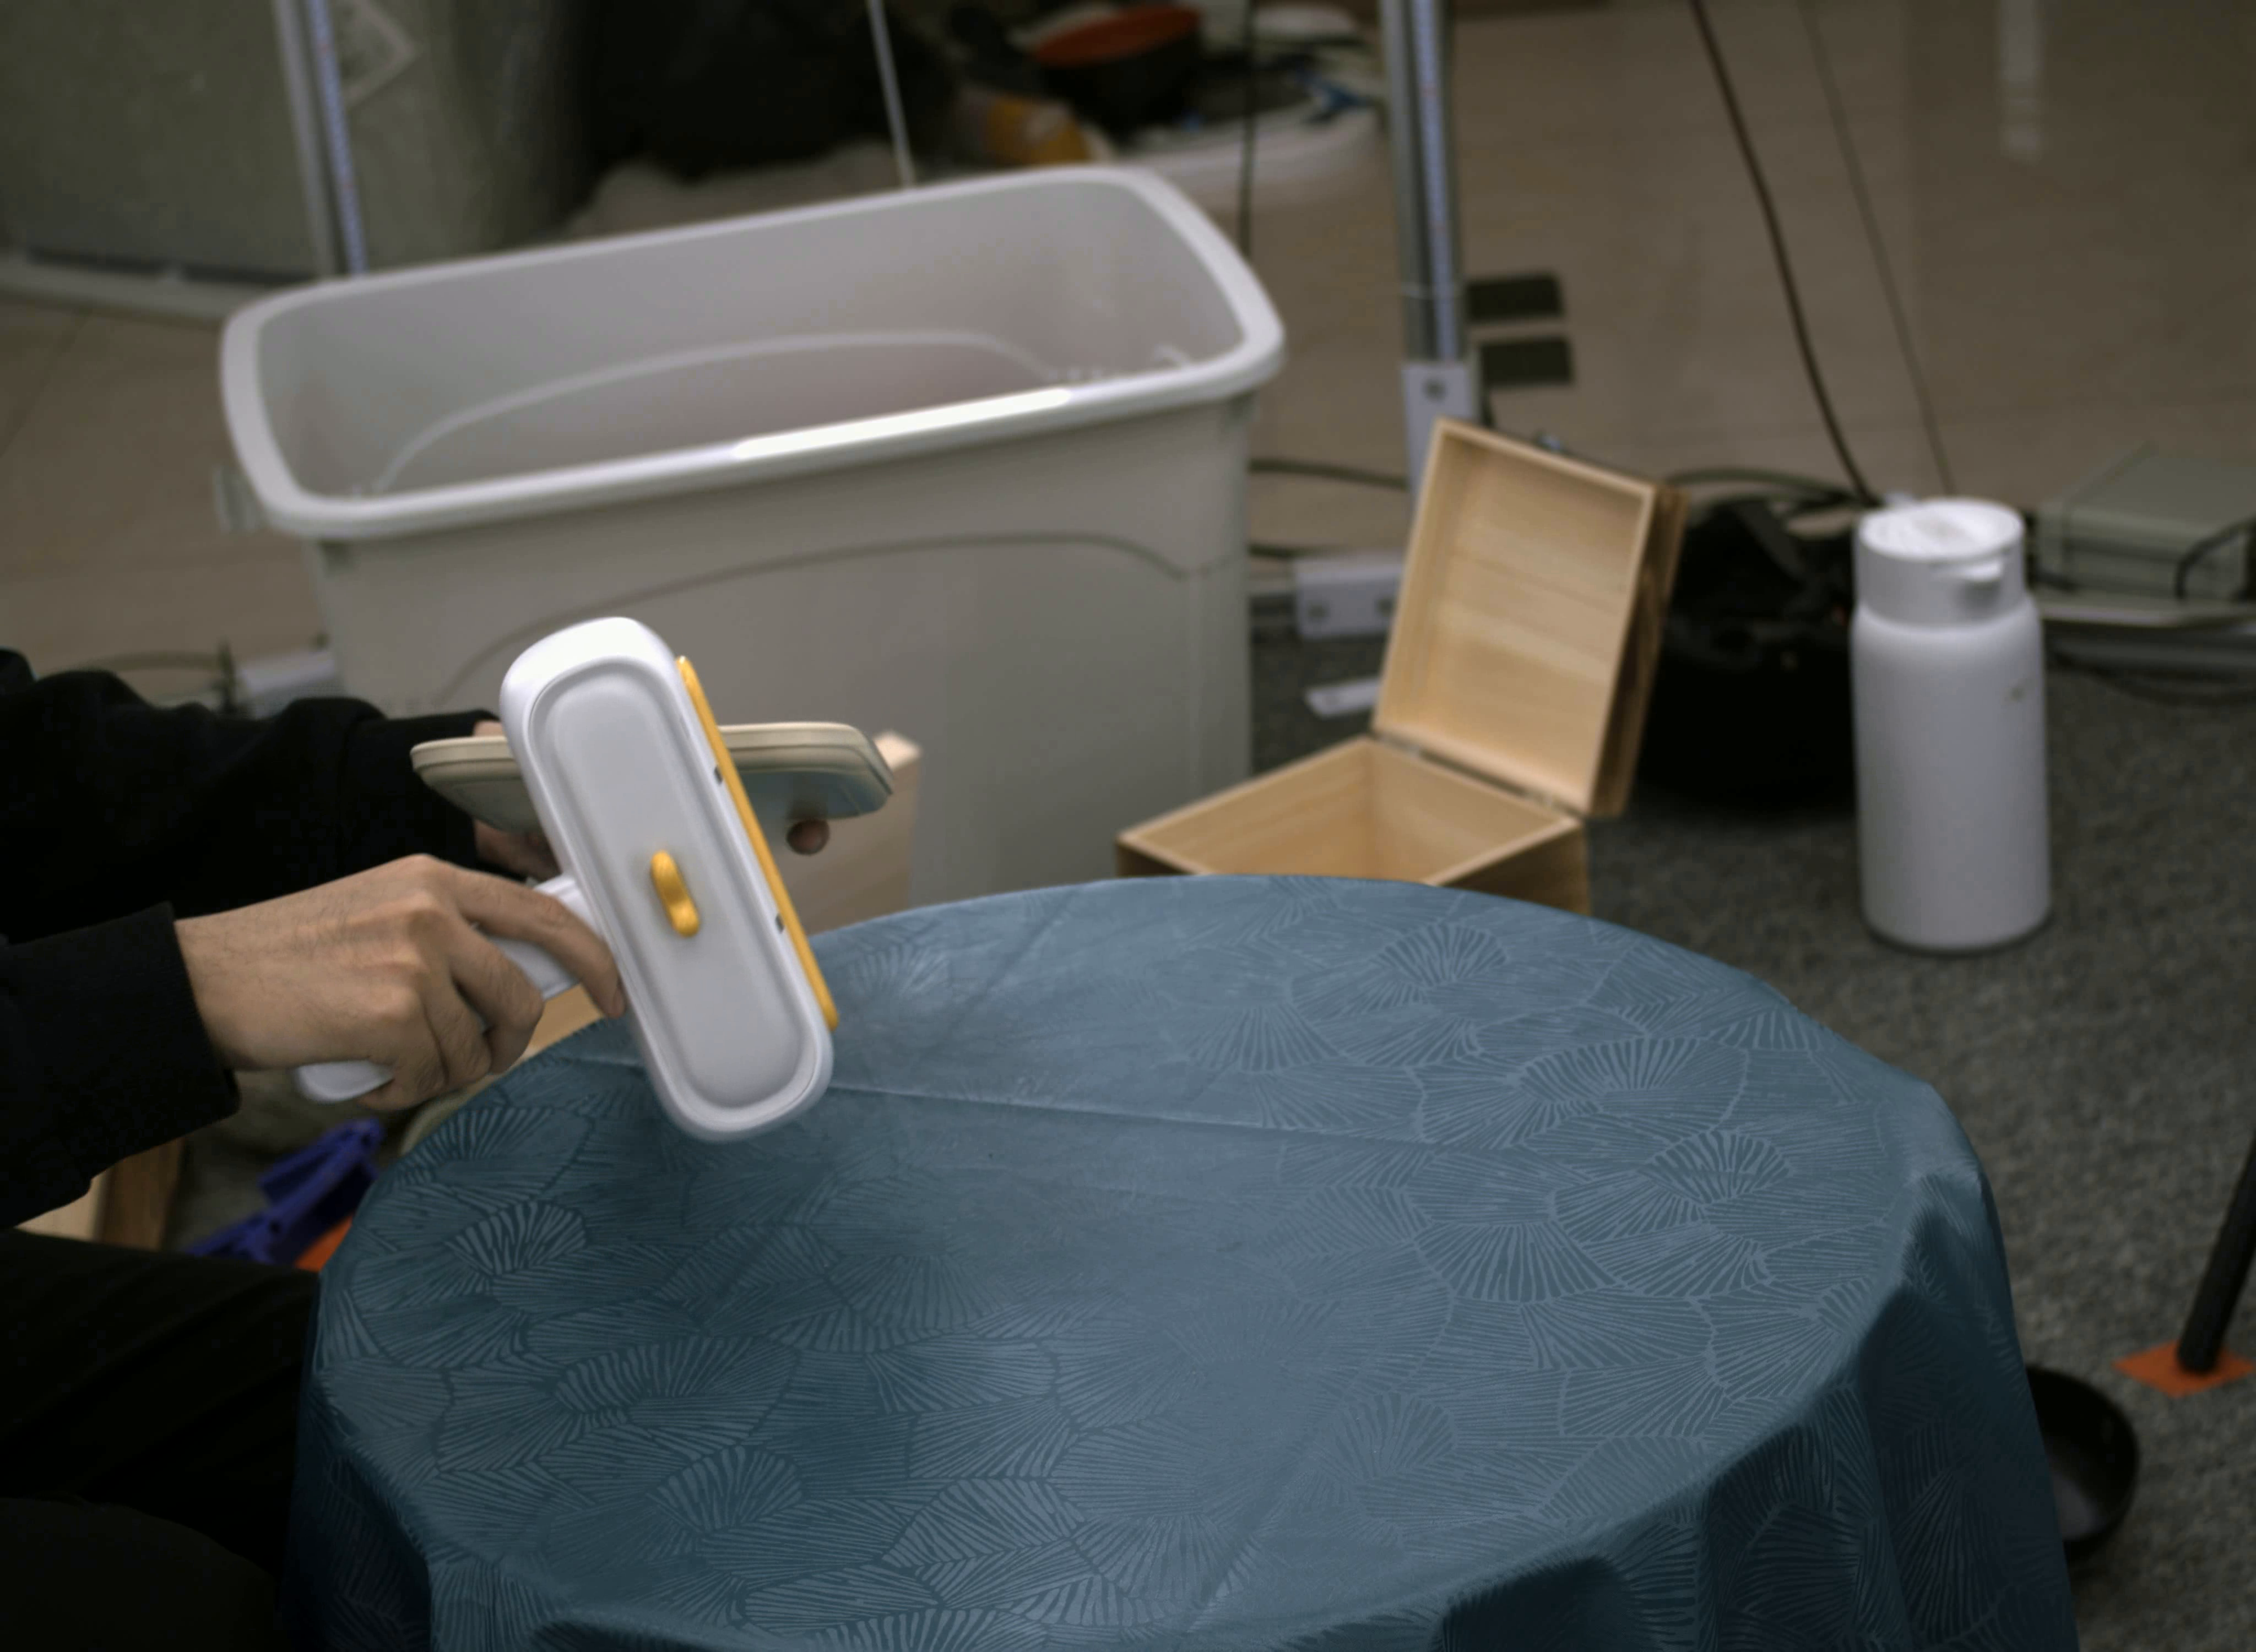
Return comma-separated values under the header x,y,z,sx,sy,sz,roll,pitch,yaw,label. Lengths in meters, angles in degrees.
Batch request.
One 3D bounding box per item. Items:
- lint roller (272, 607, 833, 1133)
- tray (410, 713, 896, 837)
x,y,z,sx,sy,sz,roll,pitch,yaw,label
-0.214,0.044,1.976,0.191,0.195,0.073,-28,18,-12,lint roller
-0.178,-0.017,2.174,0.171,0.017,0.240,-4,-5,1,tray
